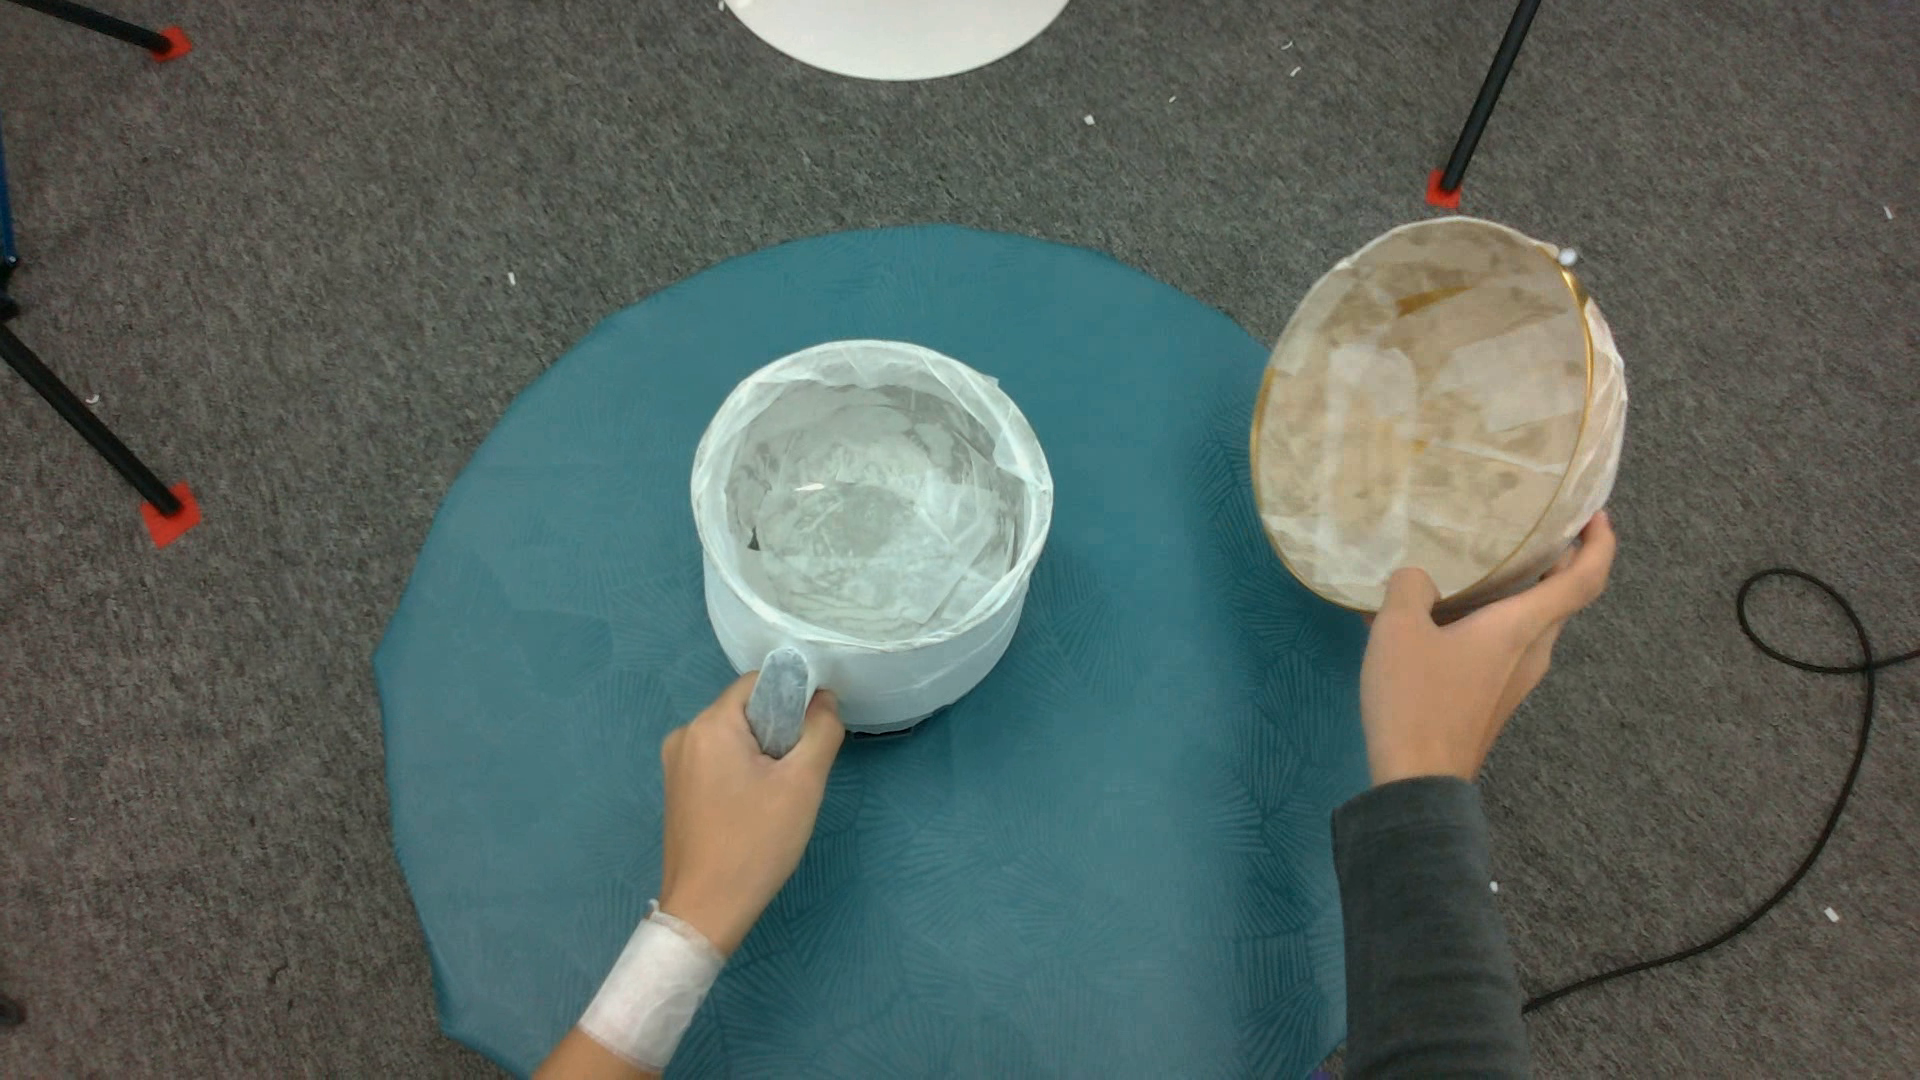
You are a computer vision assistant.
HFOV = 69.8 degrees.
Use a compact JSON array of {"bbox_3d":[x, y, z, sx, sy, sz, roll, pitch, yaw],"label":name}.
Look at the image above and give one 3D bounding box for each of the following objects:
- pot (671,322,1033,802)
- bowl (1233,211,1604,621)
[{"bbox_3d":[-0.068,0.018,0.716,0.178,0.136,0.235,20,62,4],"label":"pot"},{"bbox_3d":[0.251,-0.056,0.720,0.095,0.213,0.215,12,60,-32],"label":"bowl"}]
